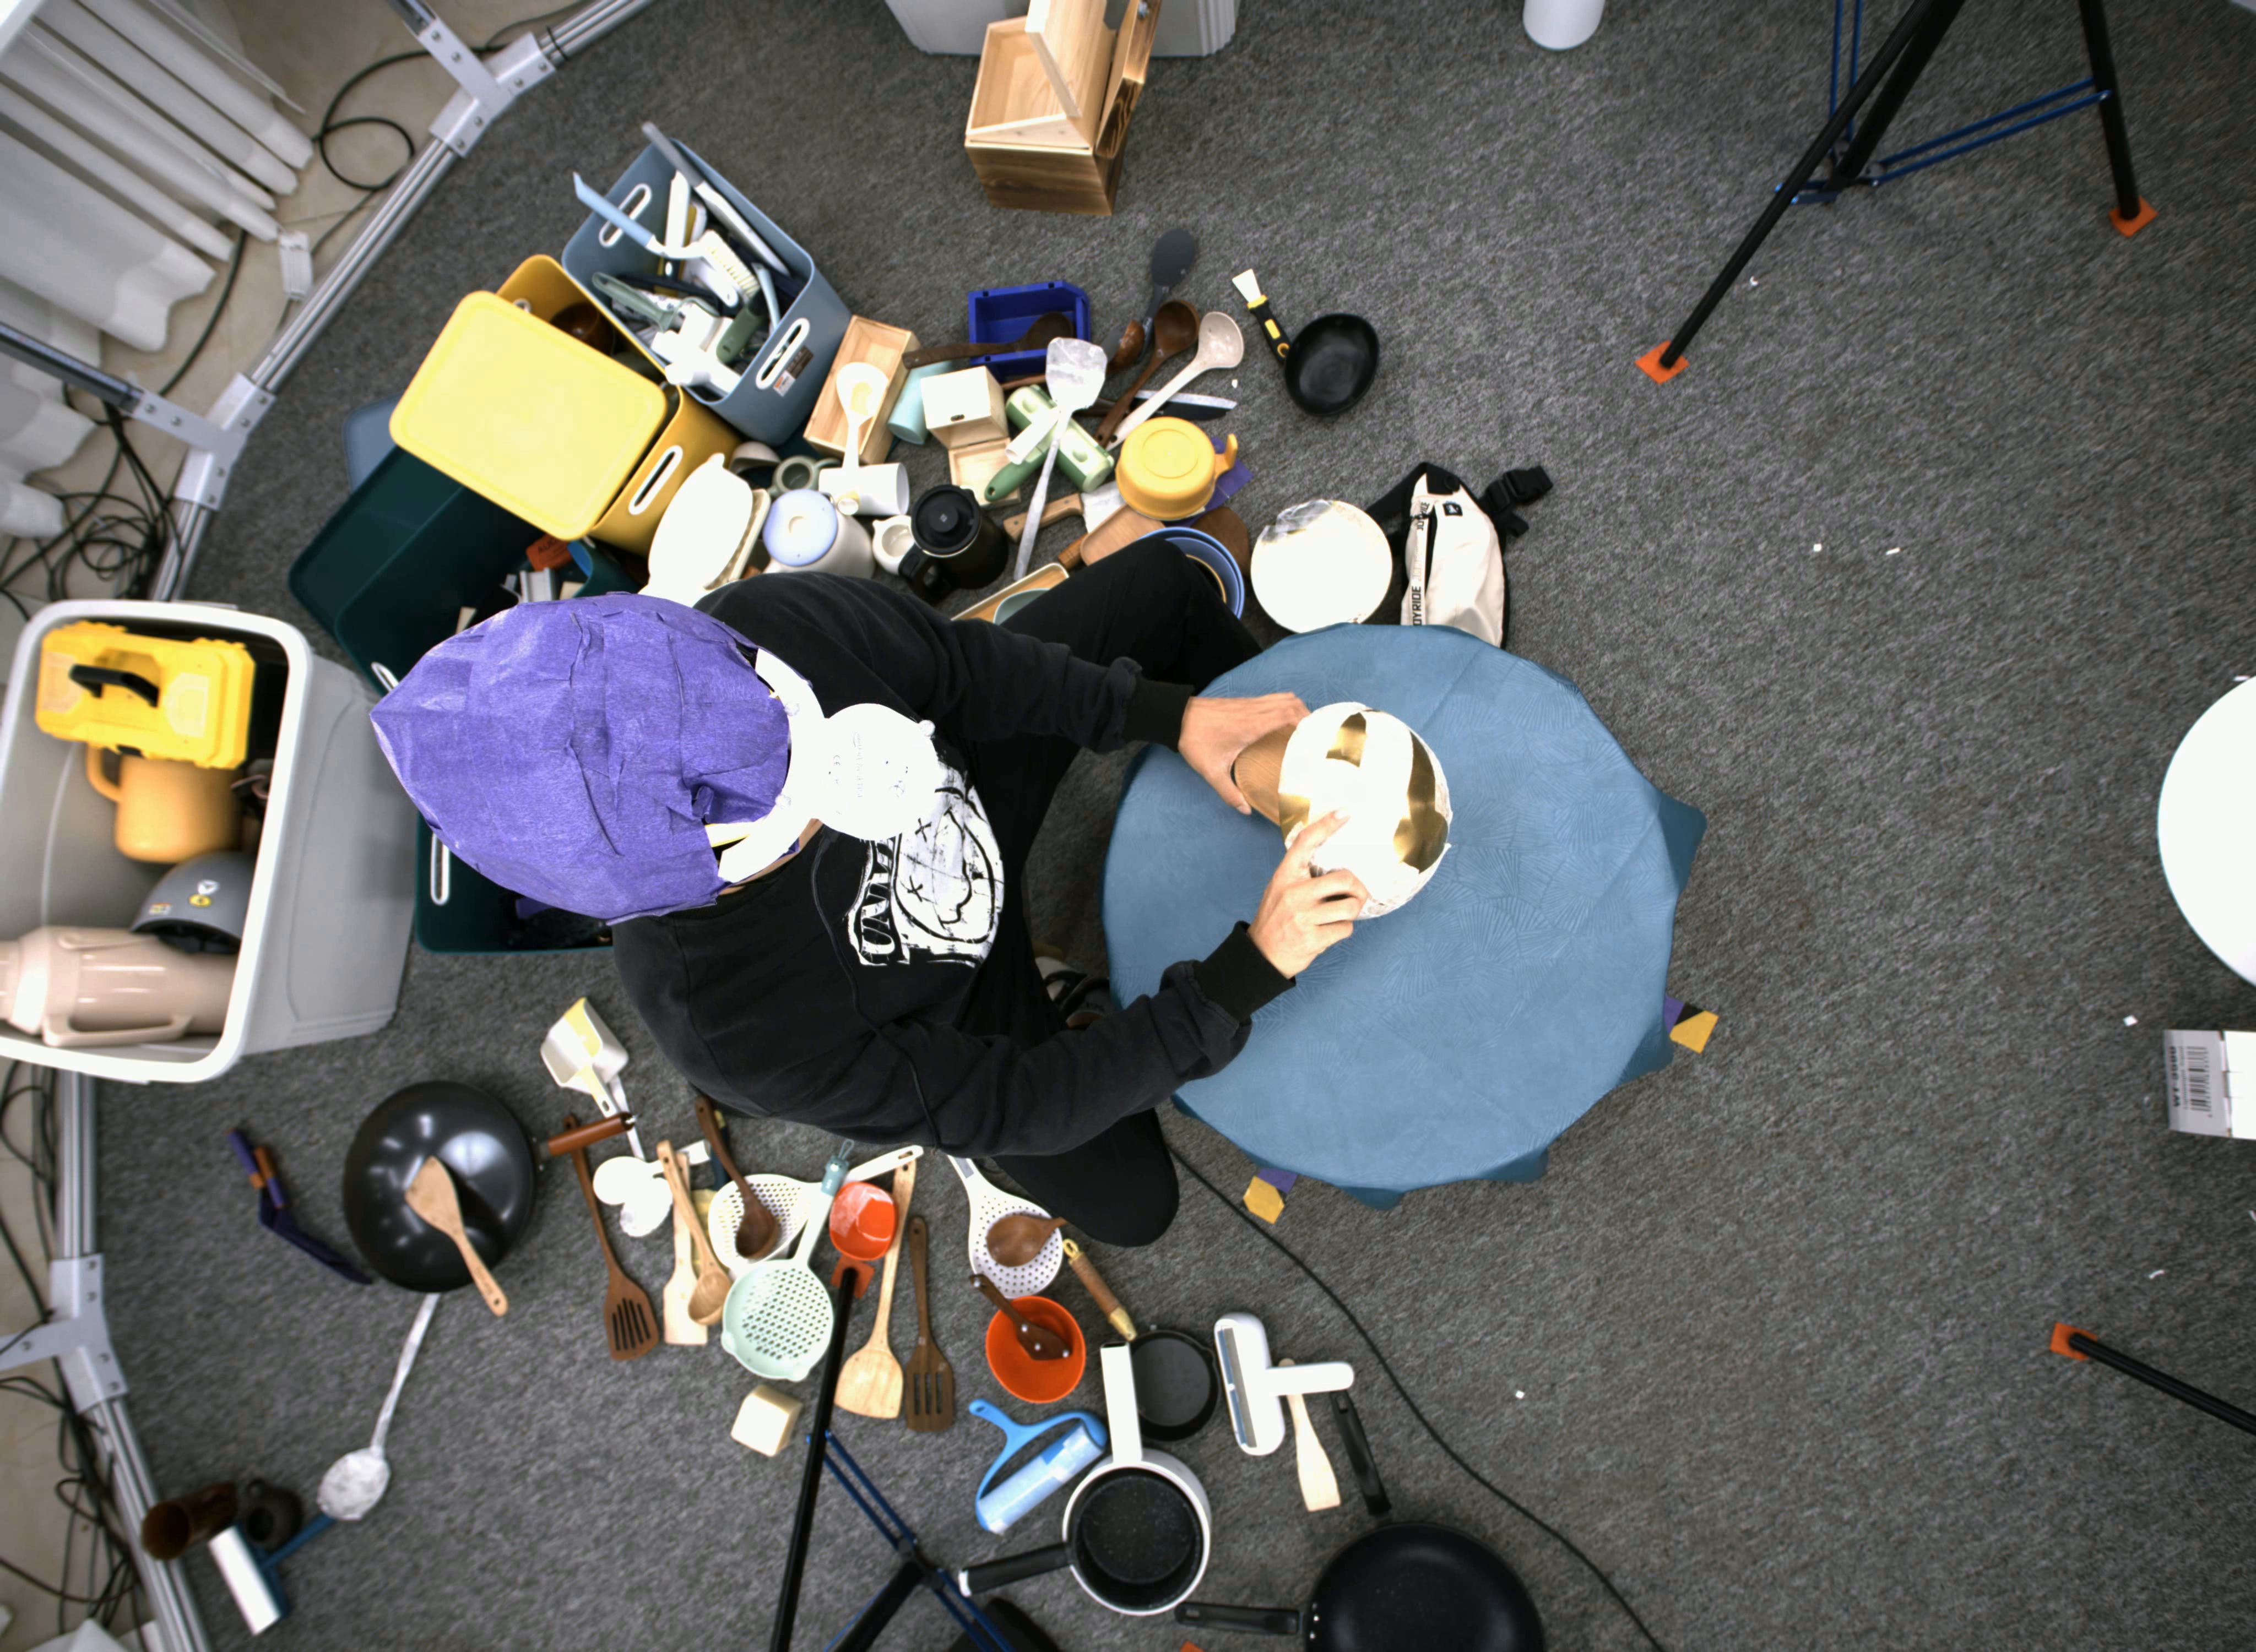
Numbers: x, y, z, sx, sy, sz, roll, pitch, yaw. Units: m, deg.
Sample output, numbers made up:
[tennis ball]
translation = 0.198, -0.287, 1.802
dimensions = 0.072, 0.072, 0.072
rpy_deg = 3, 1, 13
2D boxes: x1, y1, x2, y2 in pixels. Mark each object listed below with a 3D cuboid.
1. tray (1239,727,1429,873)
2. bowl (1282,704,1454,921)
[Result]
[tray]
translation = 0.221, -0.017, 1.451
dimensions = 0.231, 0.020, 0.101
rpy_deg = 34, 88, -1
[bowl]
translation = 0.239, -0.014, 1.261
dimensions = 0.095, 0.214, 0.213
rpy_deg = -4, 83, 43
